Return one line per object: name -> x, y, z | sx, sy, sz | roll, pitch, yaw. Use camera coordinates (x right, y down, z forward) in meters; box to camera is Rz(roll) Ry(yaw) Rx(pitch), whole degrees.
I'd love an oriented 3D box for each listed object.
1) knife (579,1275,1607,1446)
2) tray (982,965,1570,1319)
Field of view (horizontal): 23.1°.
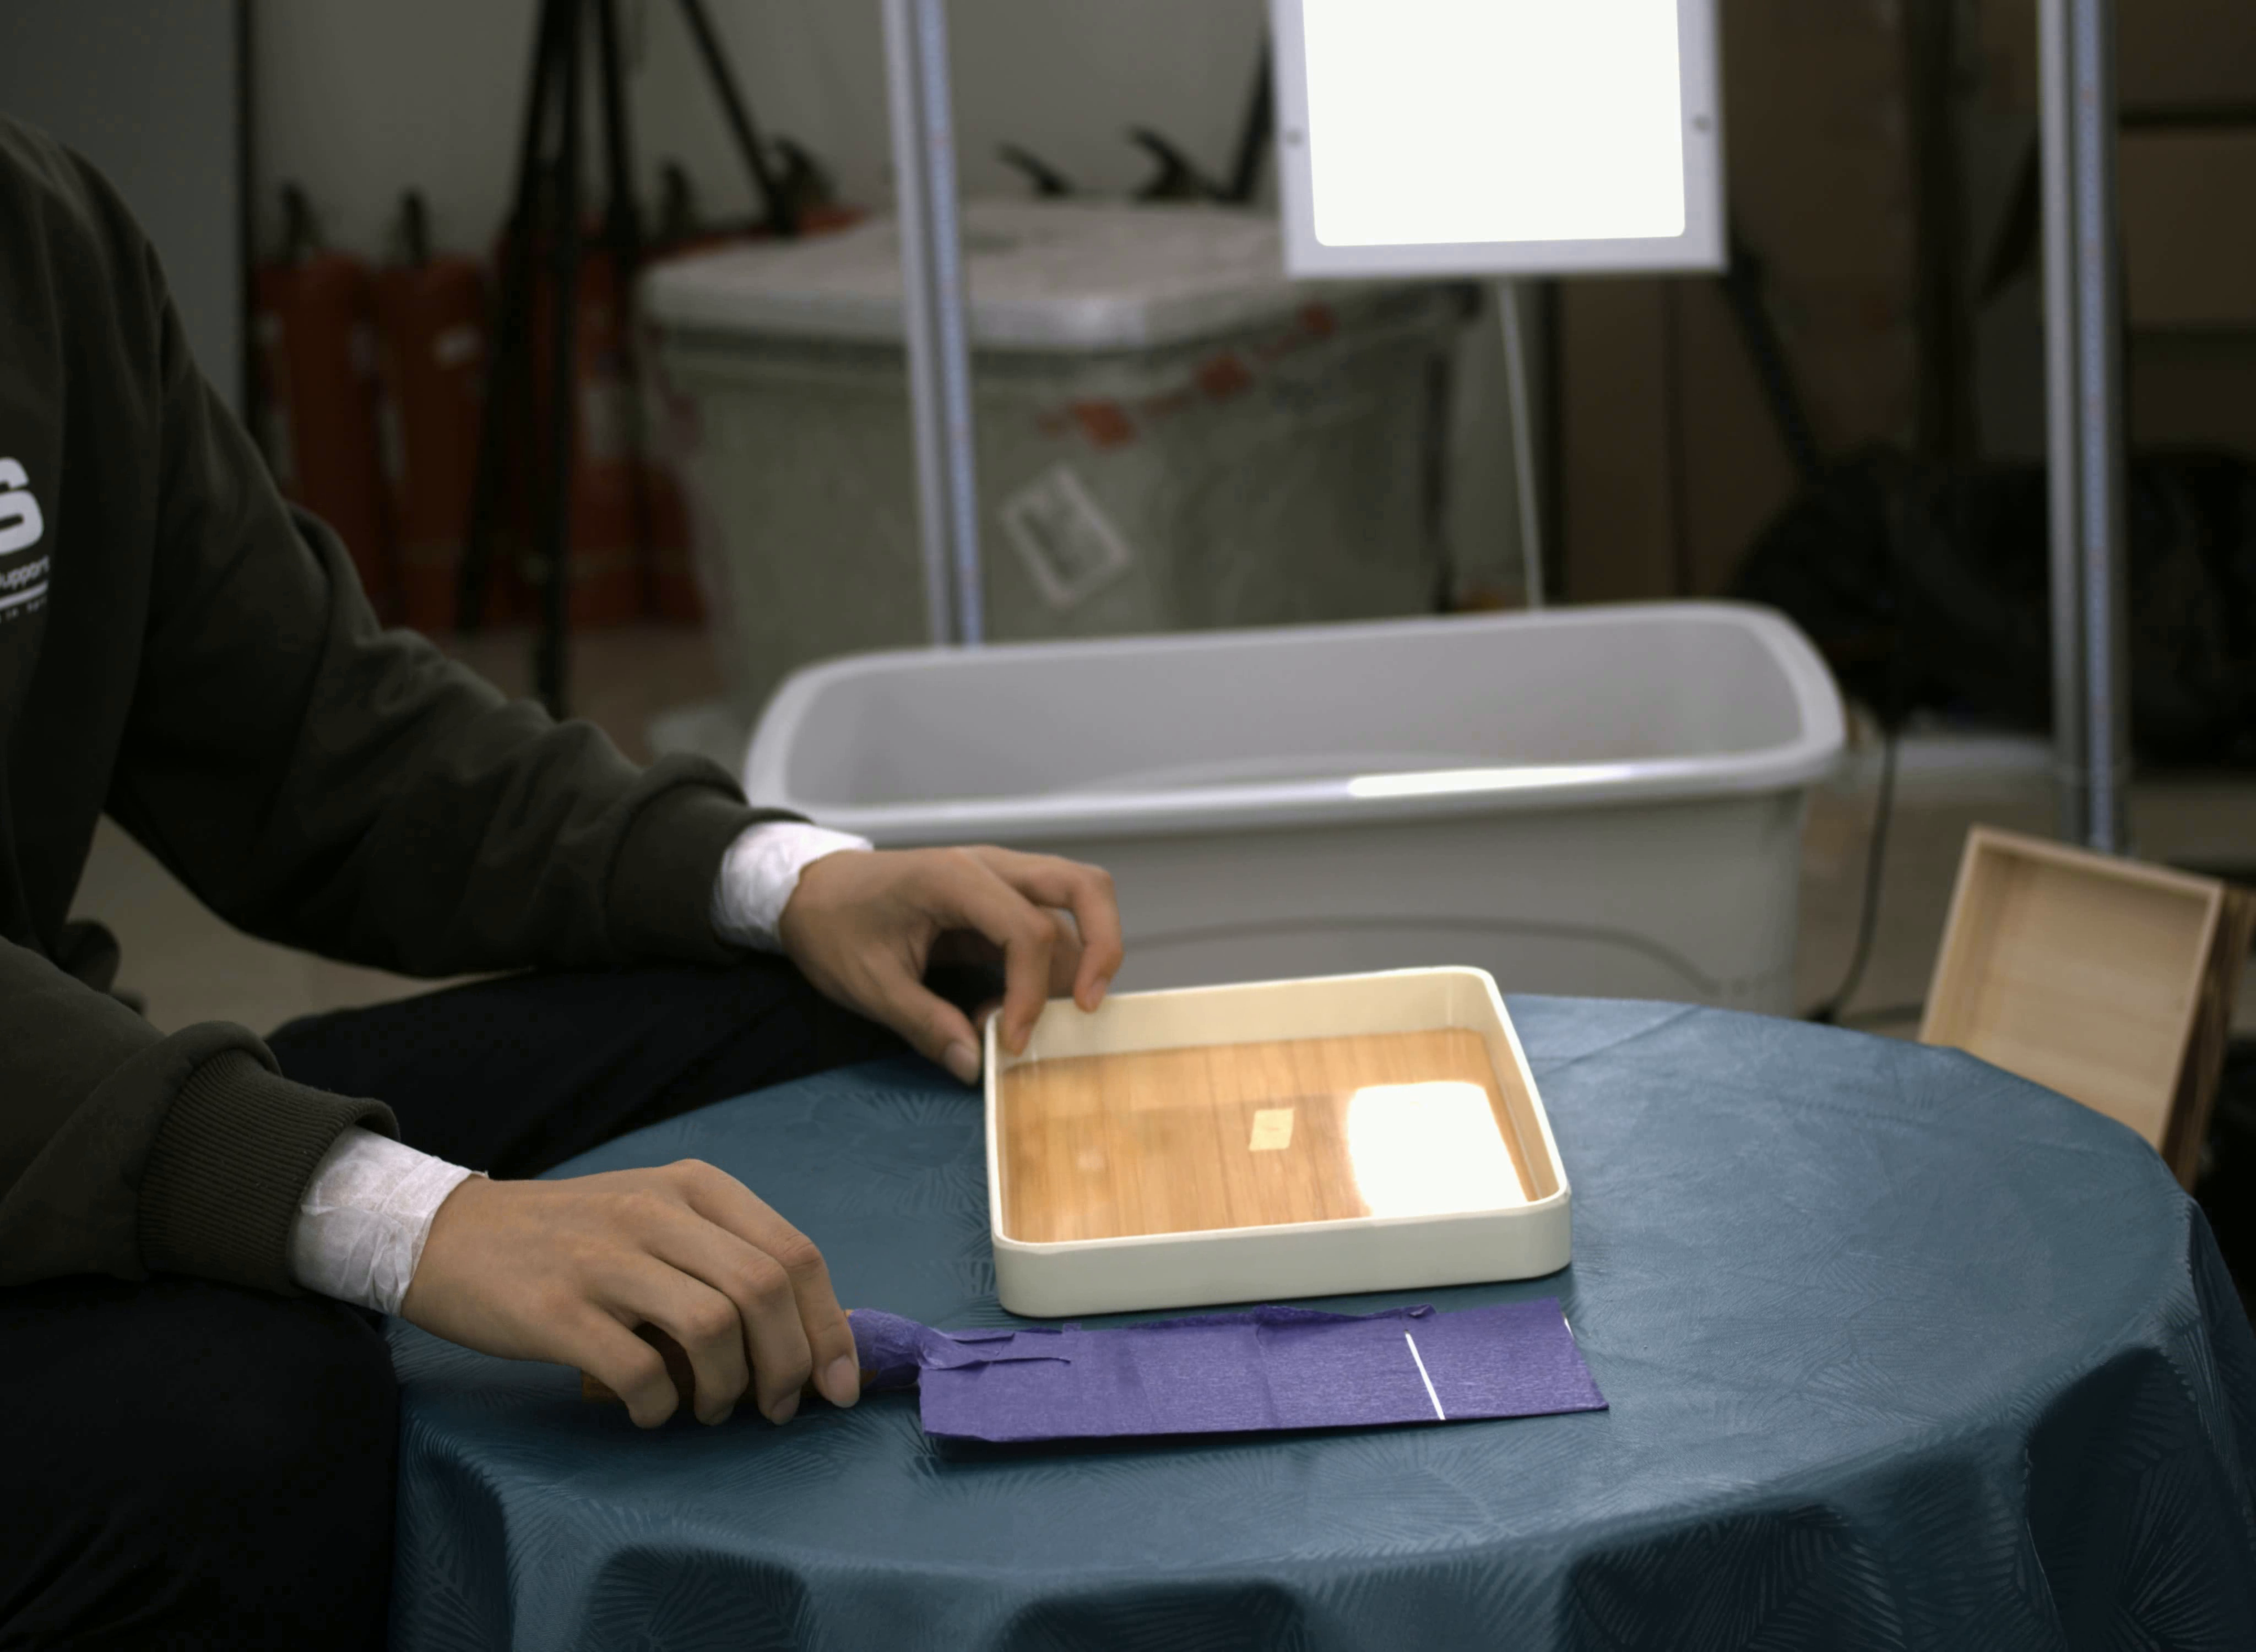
knife -> -0.012, 0.165, 1.692 | 0.314, 0.032, 0.104 | -5, 14, -1
tray -> 0.046, 0.106, 1.913 | 0.191, 0.027, 0.300 | -5, 14, 0
